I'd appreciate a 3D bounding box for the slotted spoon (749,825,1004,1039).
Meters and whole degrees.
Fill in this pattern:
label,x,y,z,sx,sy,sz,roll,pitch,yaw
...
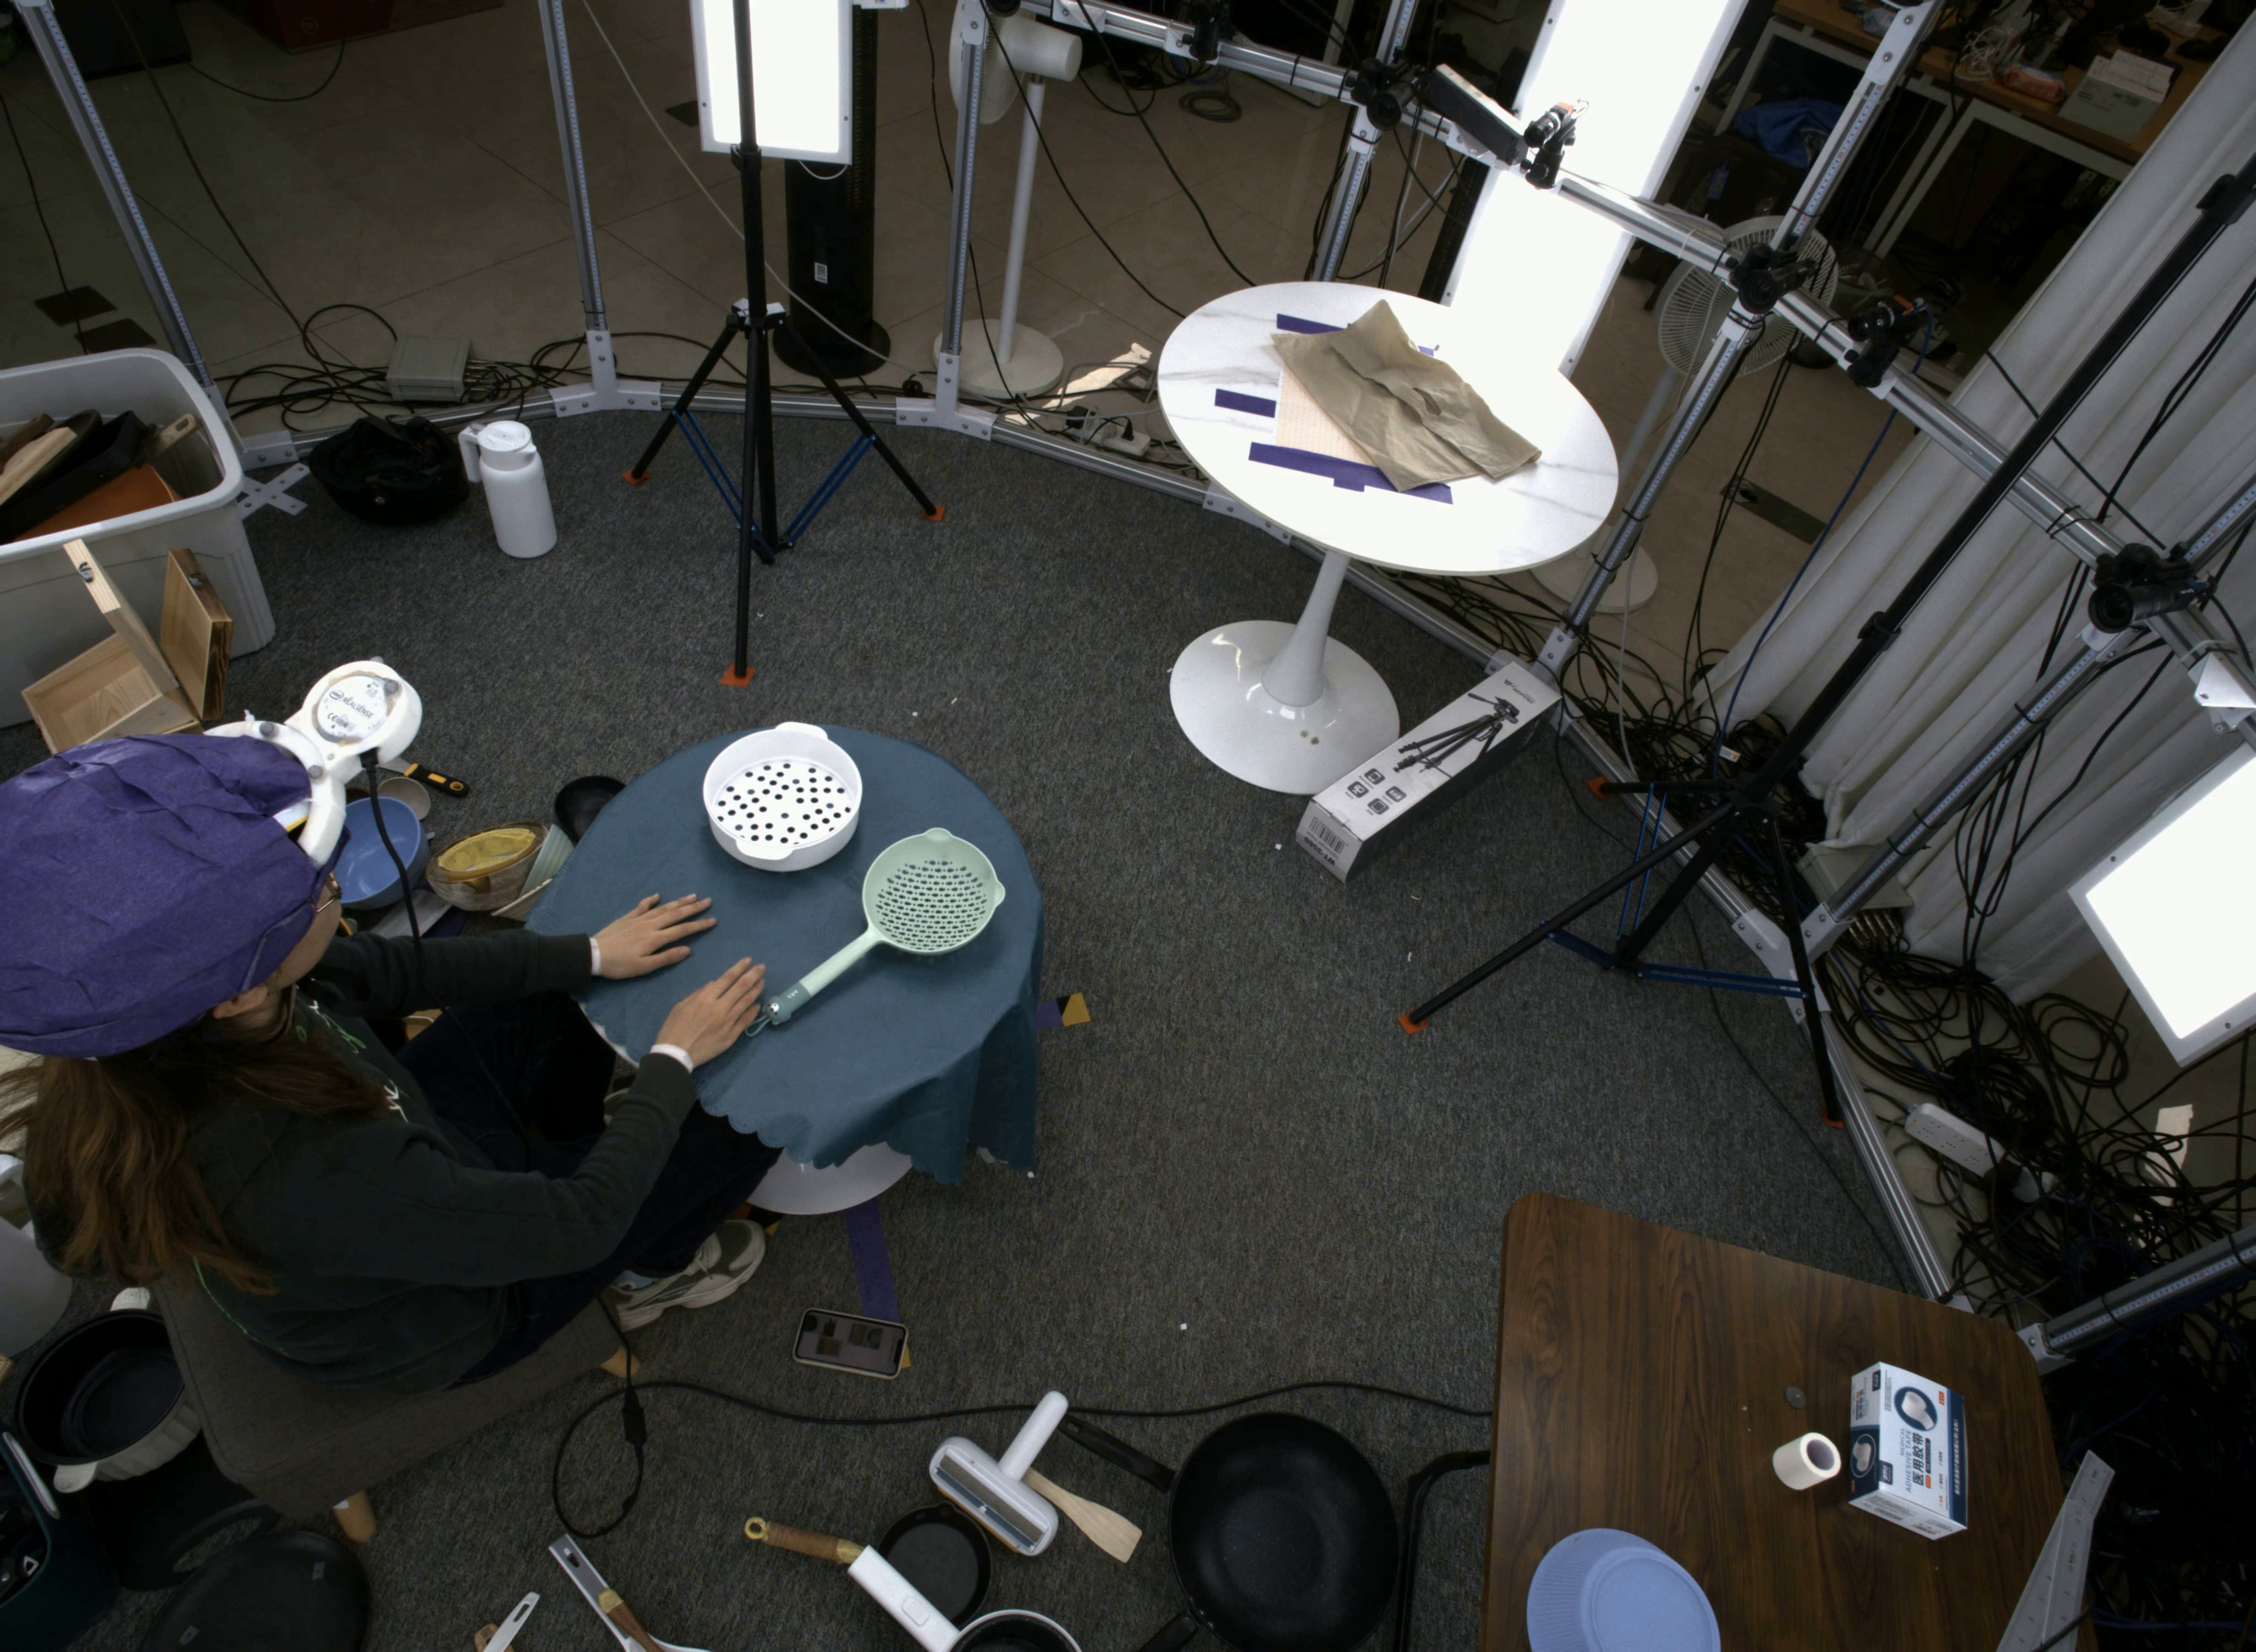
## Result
label,x,y,z,sx,sy,sz,roll,pitch,yaw
slotted spoon,-0.319,0.140,1.610,0.165,0.077,0.360,43,56,18

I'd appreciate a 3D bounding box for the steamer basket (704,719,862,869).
label,x,y,z,sx,sy,sz,roll,pitch,yaw
steamer basket,-0.453,-0.037,1.707,0.201,0.070,0.227,9,52,-6
